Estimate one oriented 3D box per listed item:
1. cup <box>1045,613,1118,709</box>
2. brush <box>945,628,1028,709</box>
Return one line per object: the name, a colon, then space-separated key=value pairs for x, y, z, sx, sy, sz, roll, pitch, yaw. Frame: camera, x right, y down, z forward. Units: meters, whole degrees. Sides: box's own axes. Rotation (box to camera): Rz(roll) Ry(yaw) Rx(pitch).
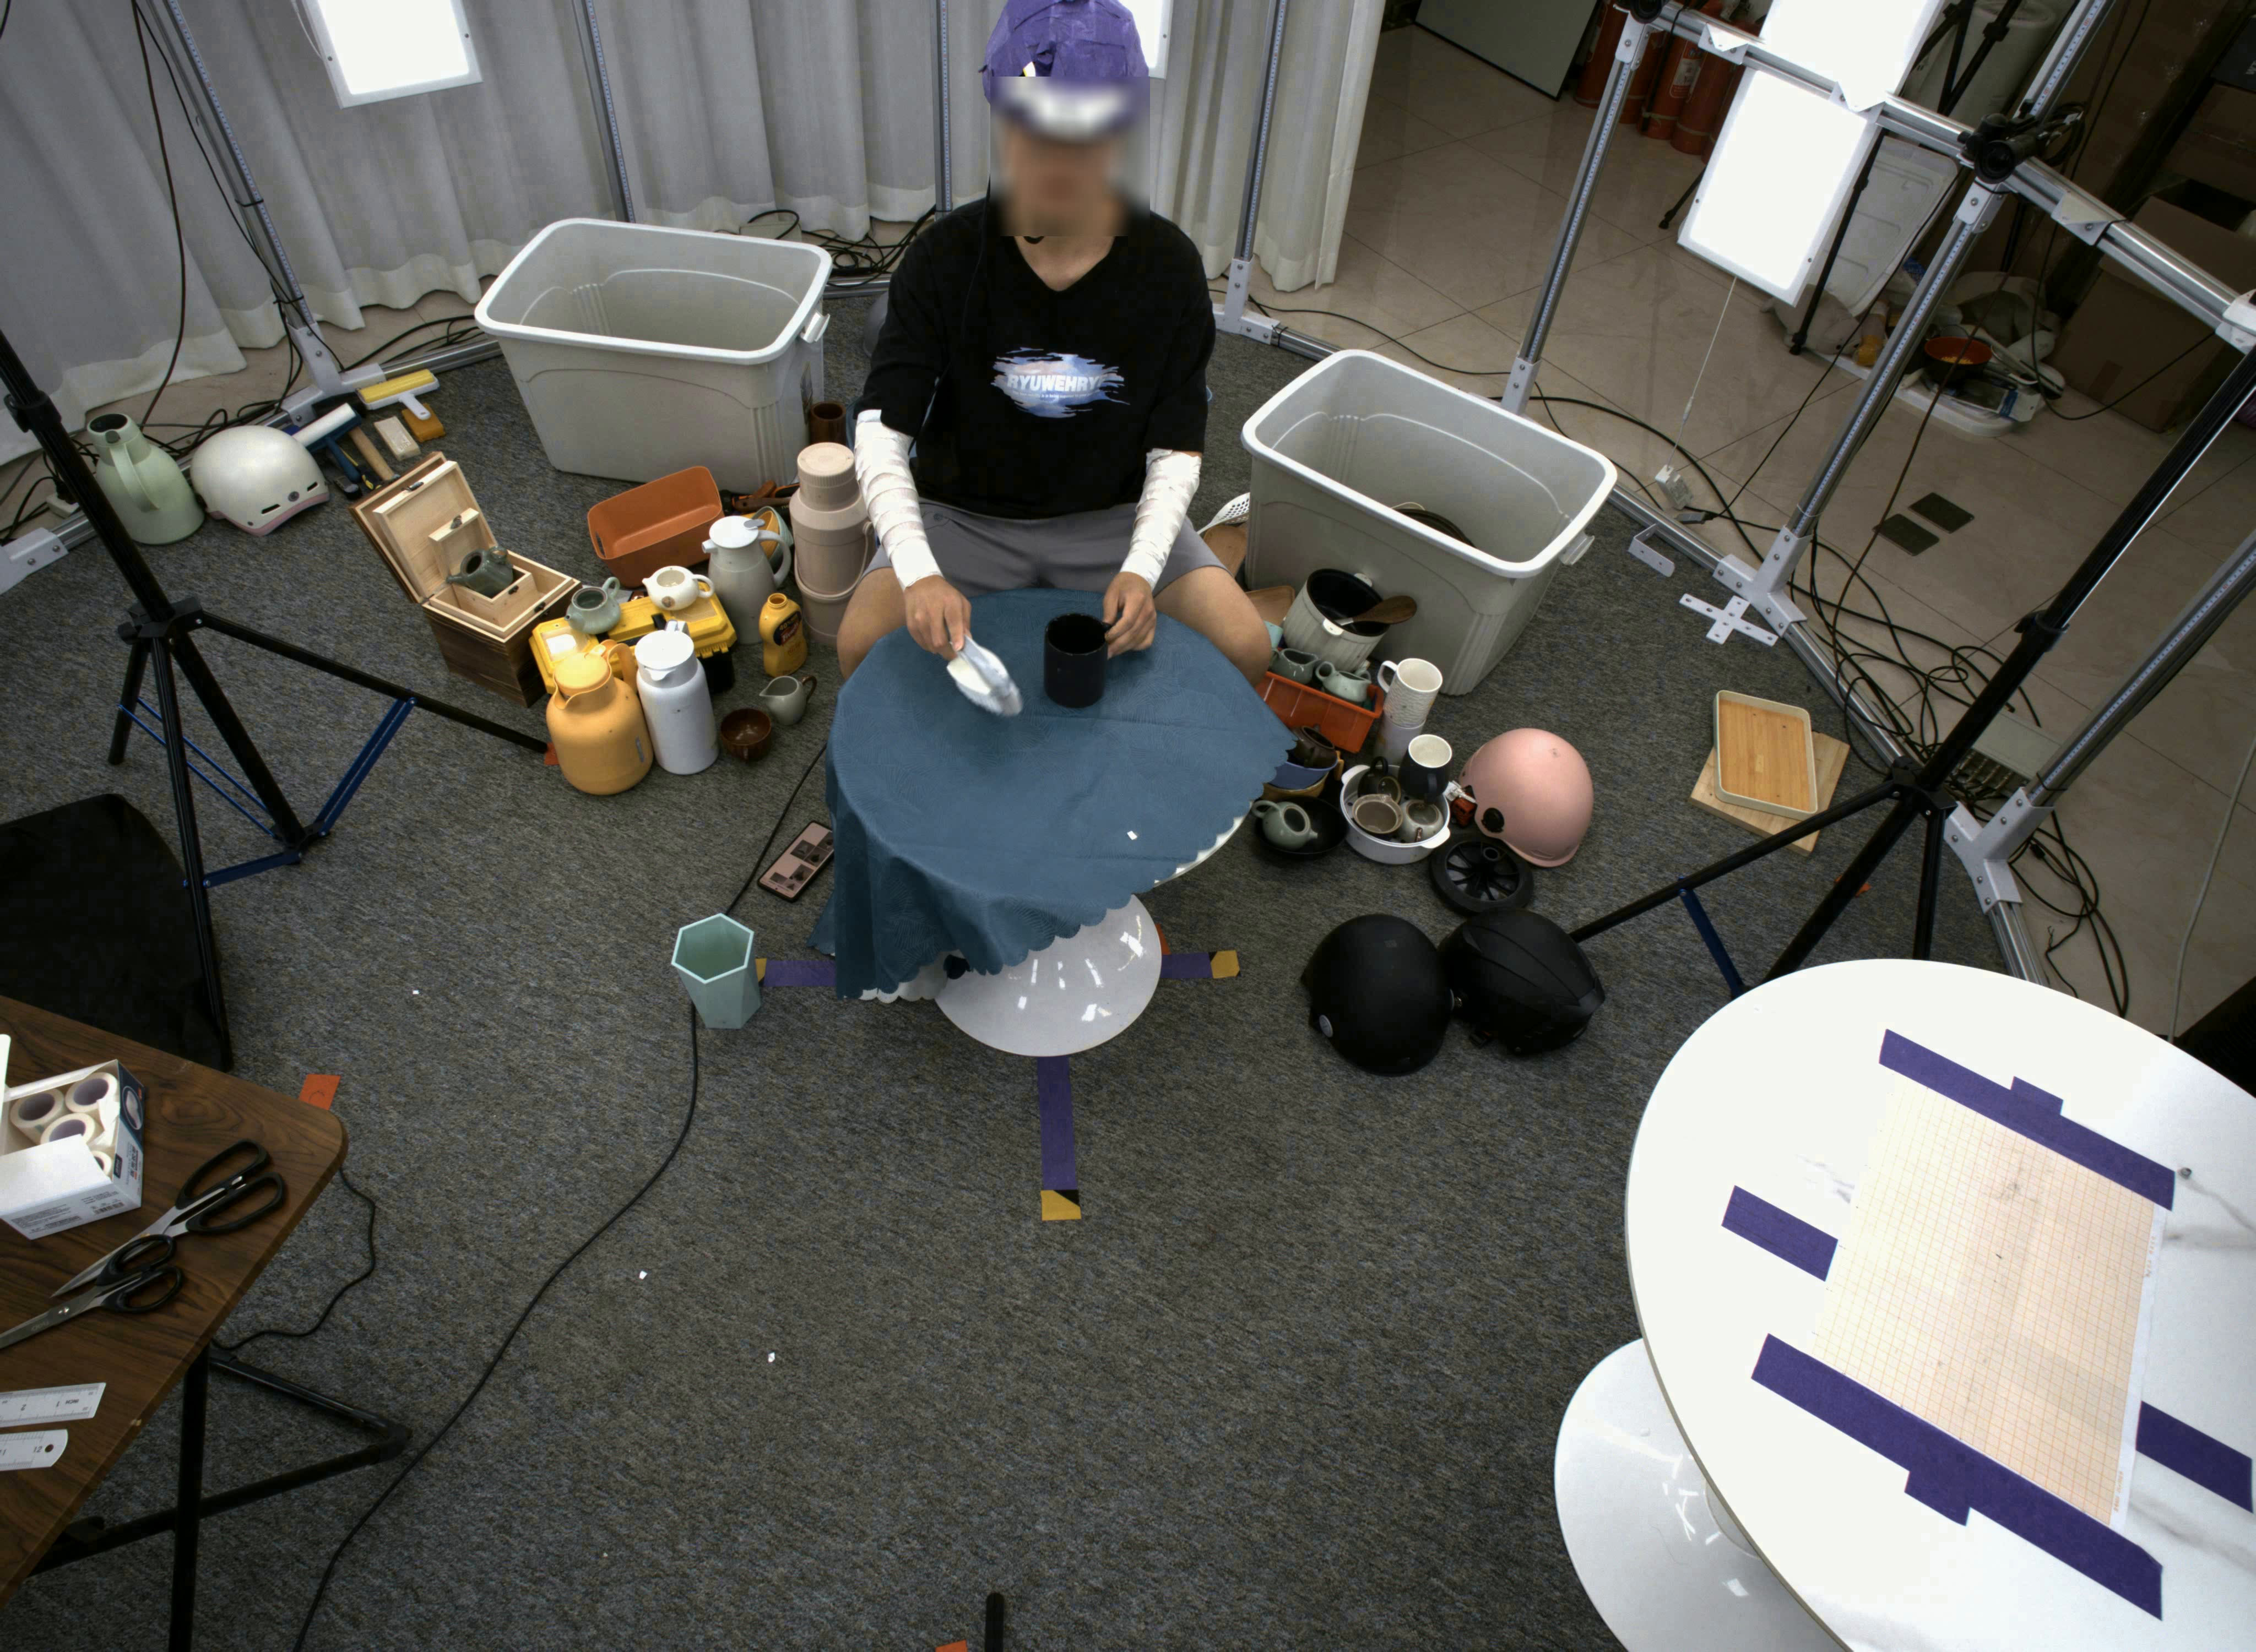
cup: x=-0.059 y=-0.241 z=1.812 sx=0.090 sy=0.102 sz=0.125 roll=33 pitch=54 yaw=27
brush: x=-0.194 y=-0.217 z=1.732 sx=0.061 sy=0.092 sz=0.179 roll=-42 pitch=38 yaw=-5
